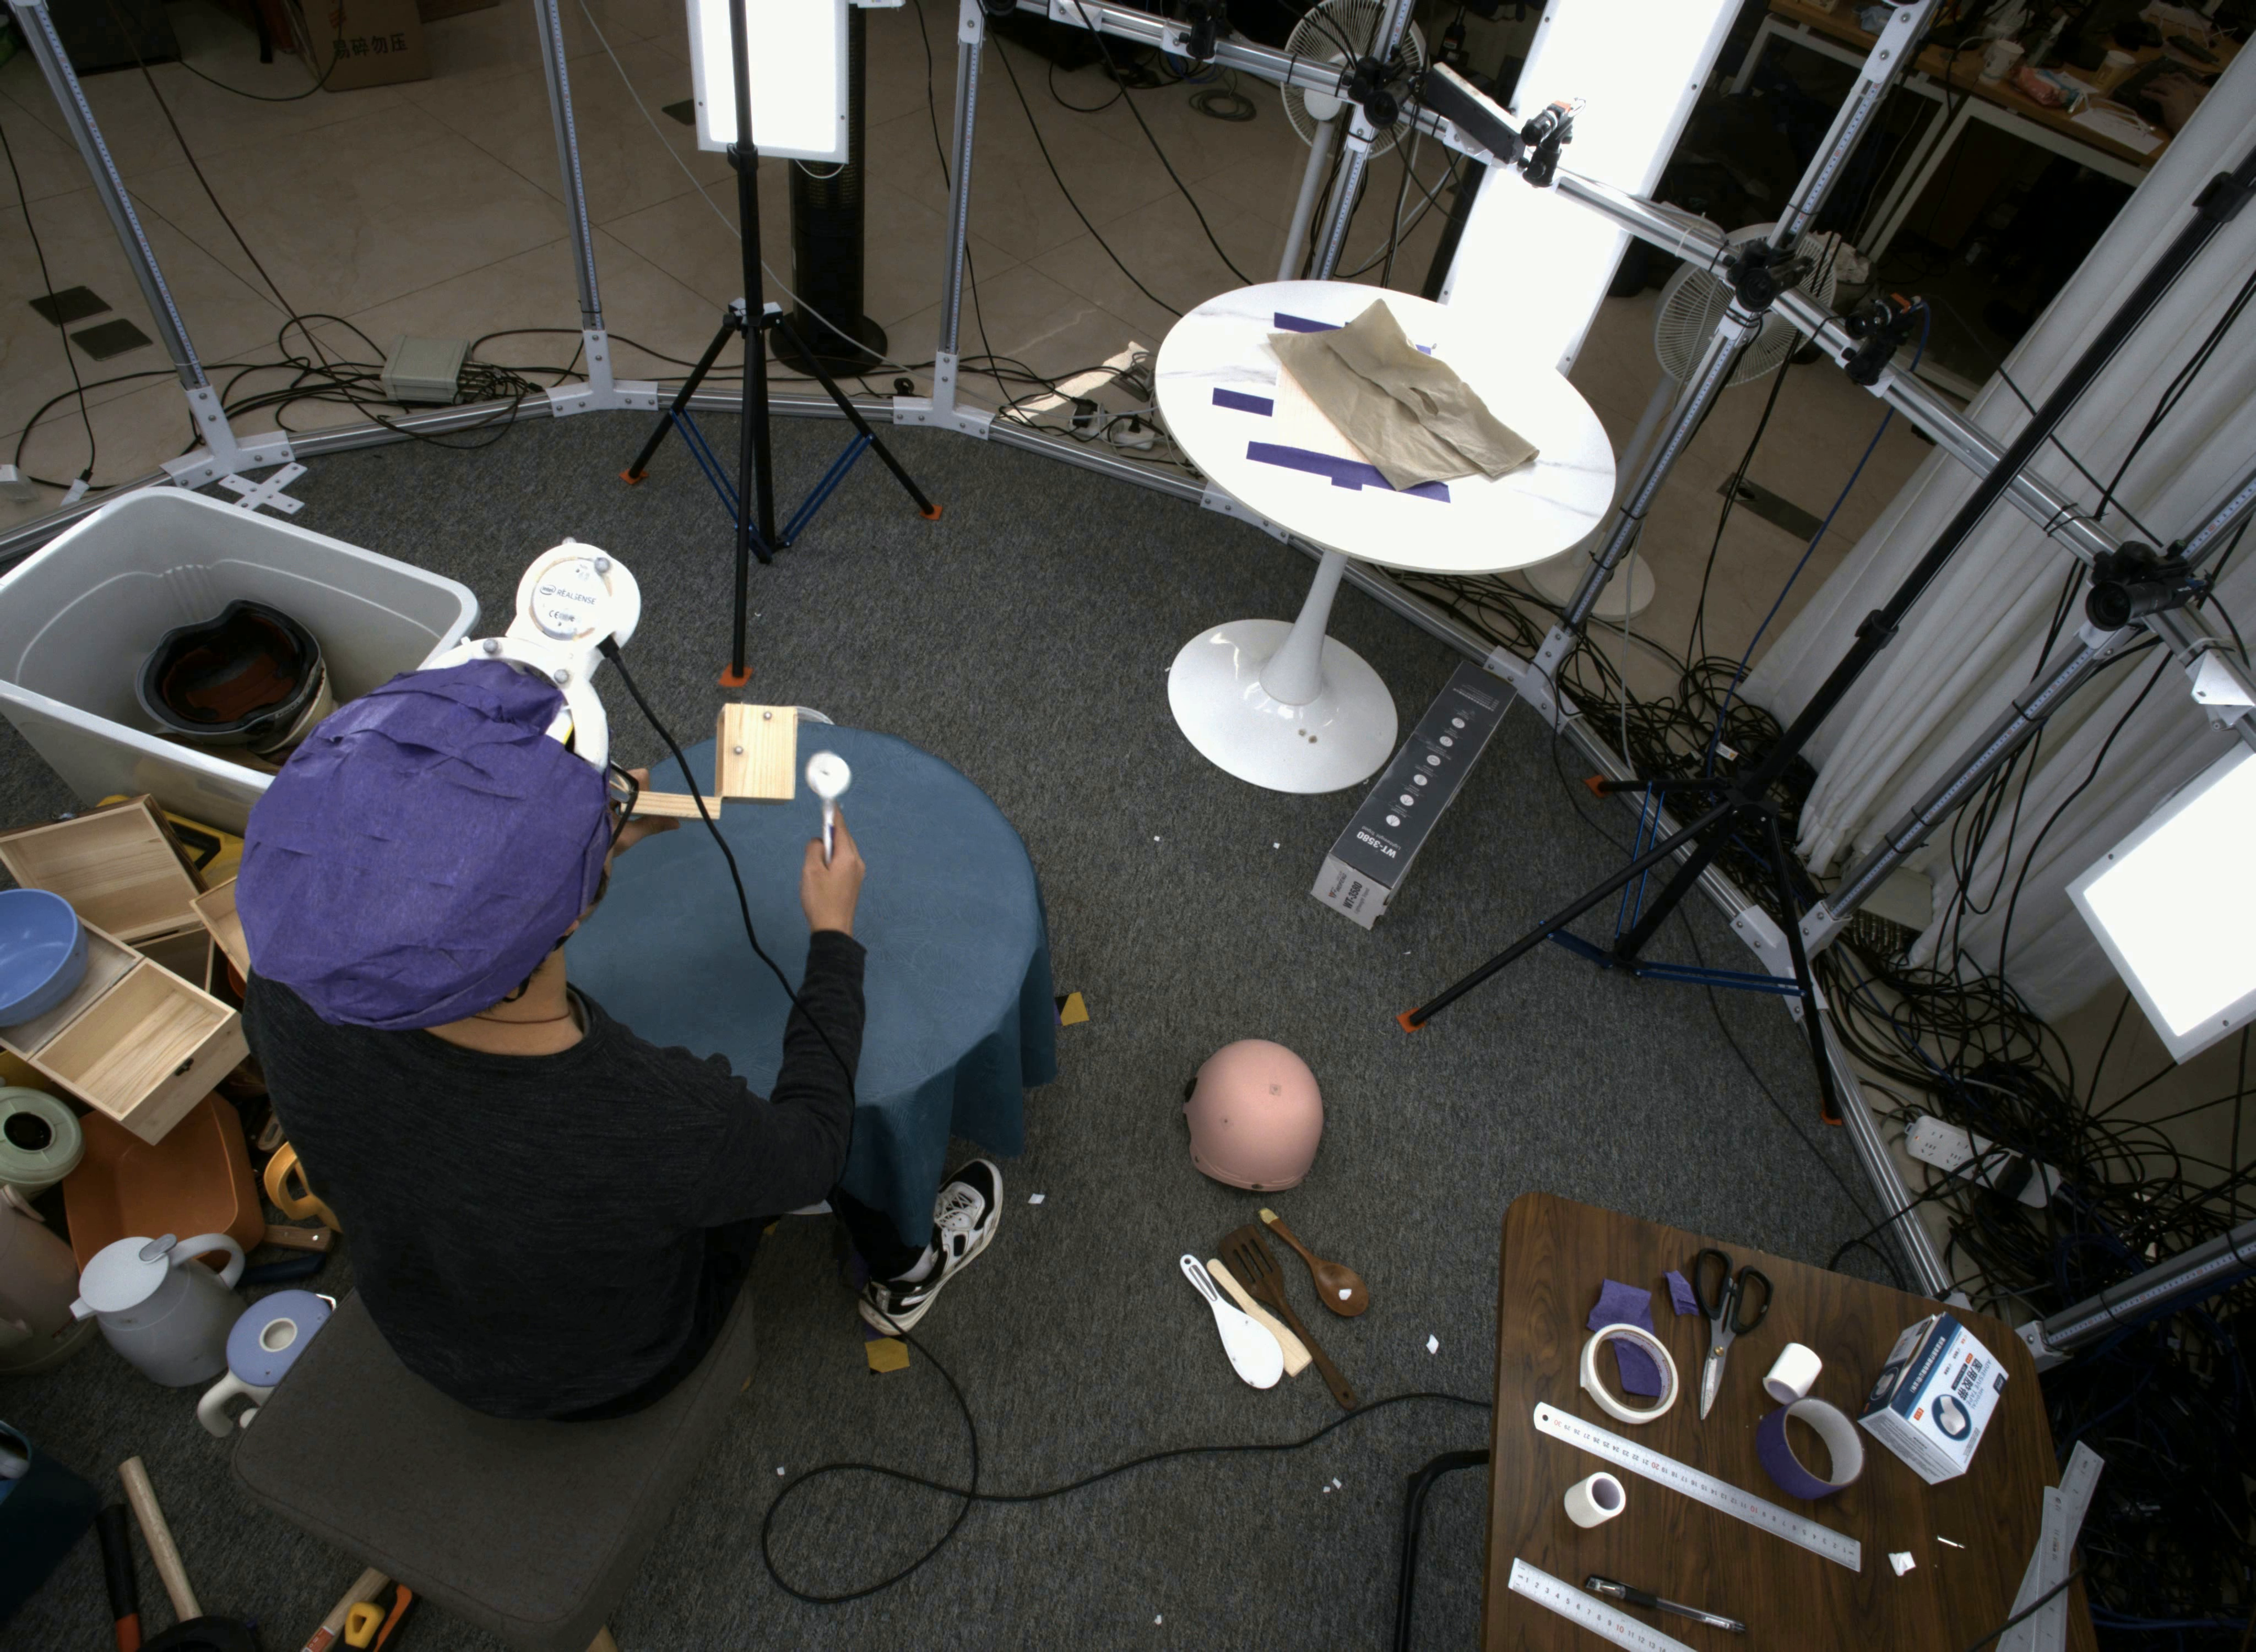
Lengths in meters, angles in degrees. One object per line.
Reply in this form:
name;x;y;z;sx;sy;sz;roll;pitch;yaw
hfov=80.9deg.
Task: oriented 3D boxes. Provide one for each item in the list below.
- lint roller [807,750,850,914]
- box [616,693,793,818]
lint roller;-0.329;0.004;1.457;0.050;0.130;0.184;-9;95;-15
box;-0.464;-0.079;1.404;0.186;0.100;0.135;1;88;-23
